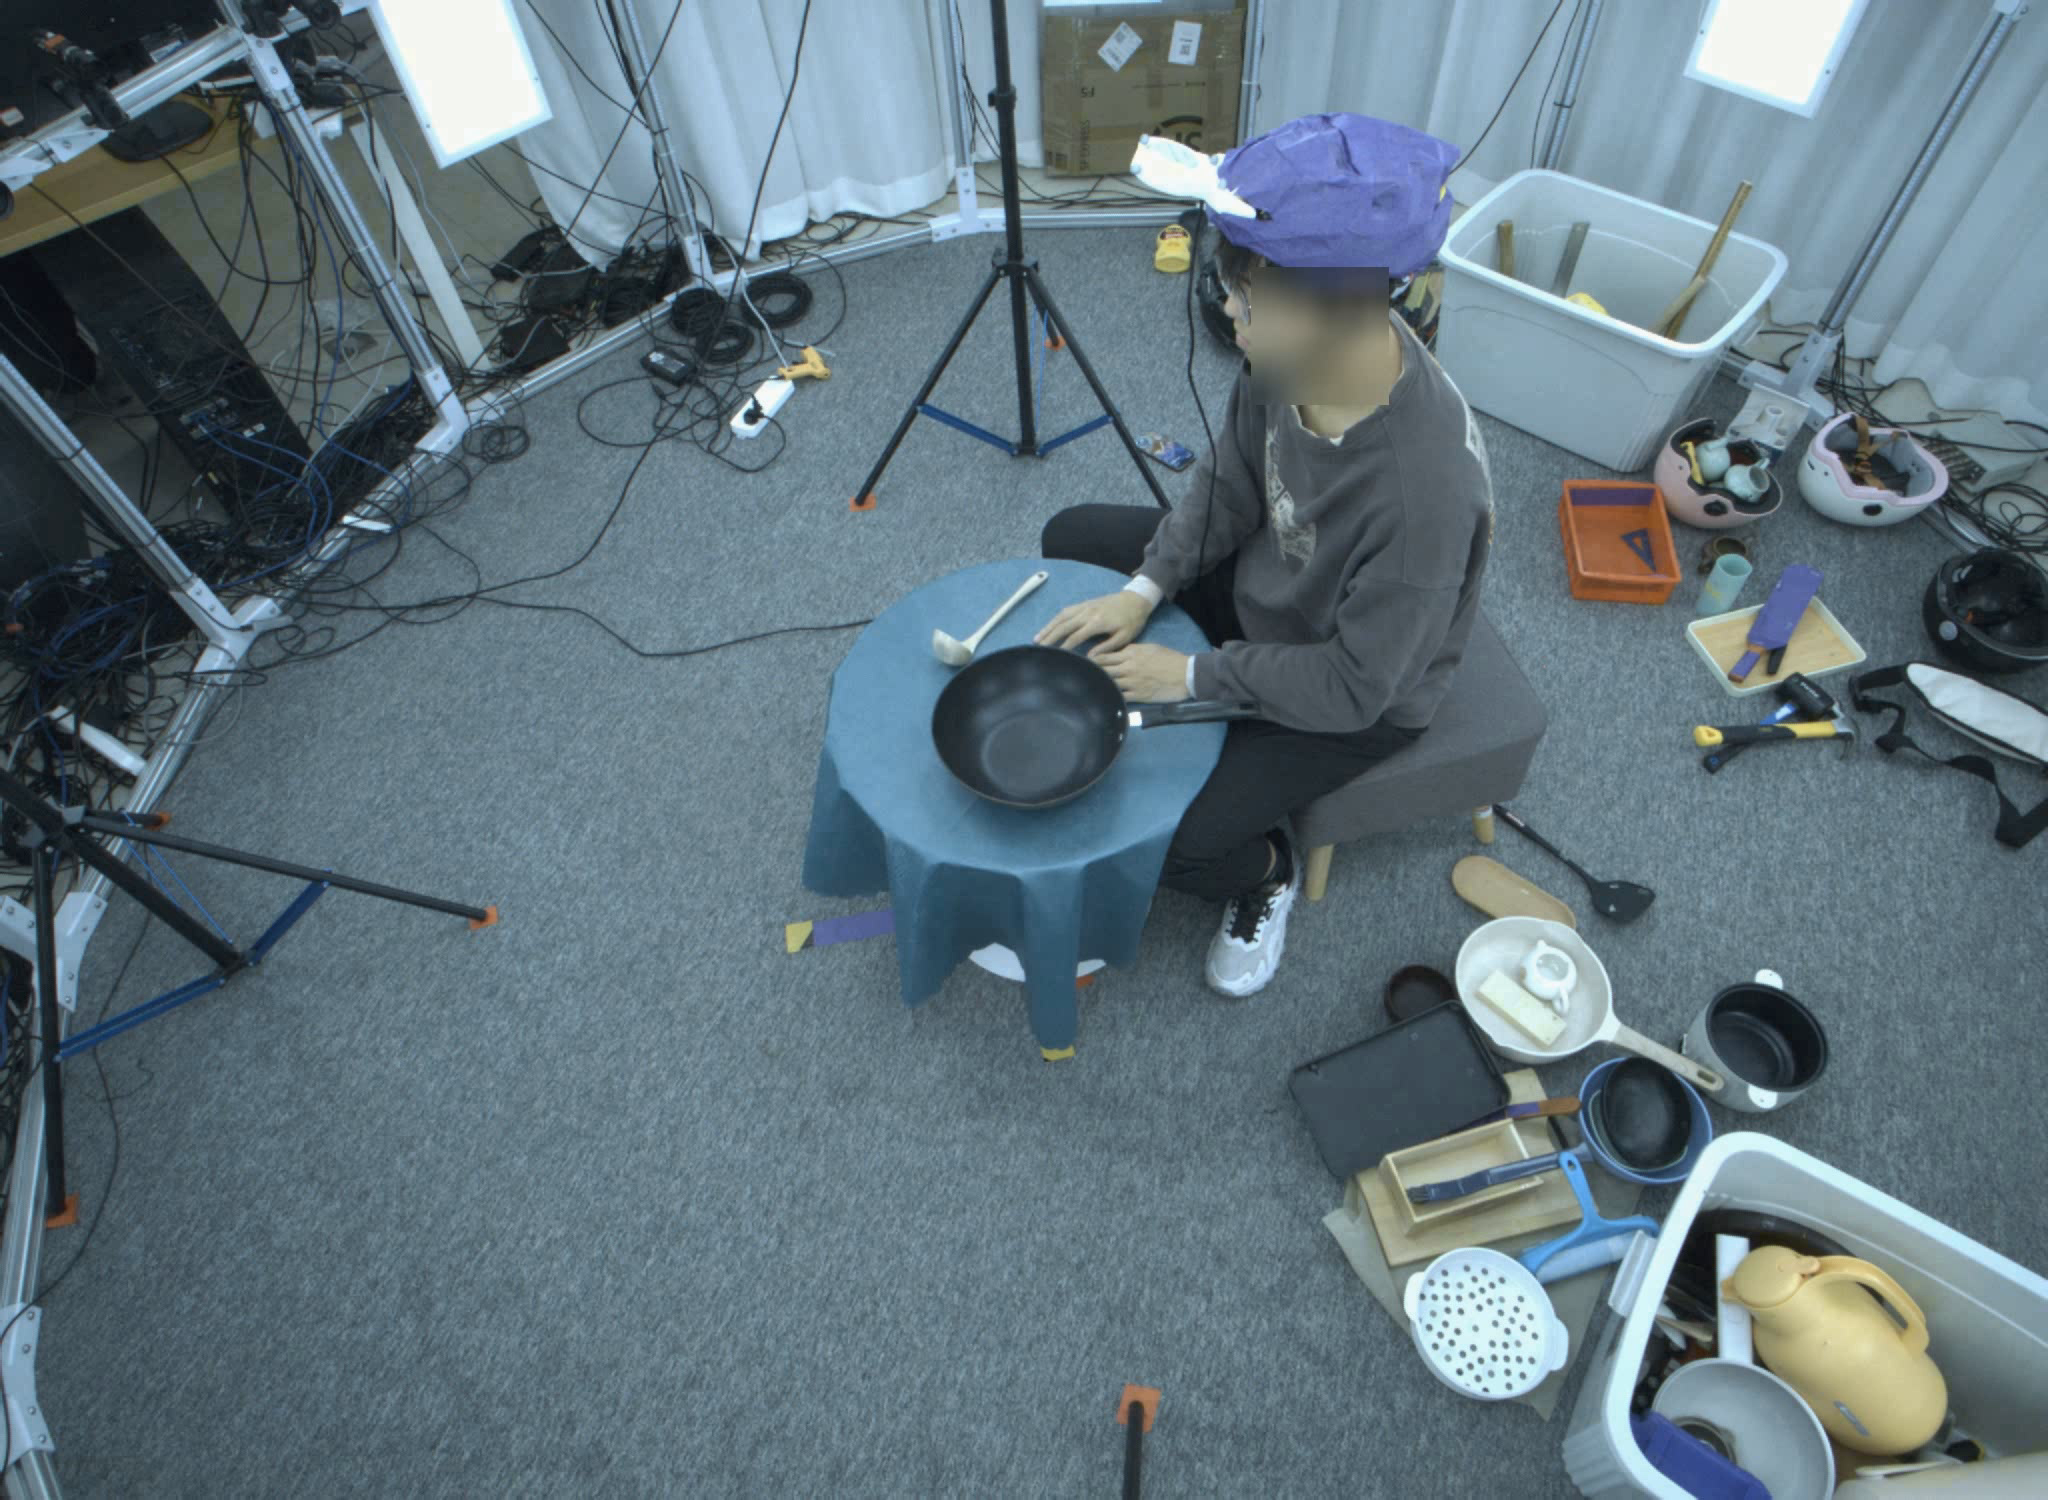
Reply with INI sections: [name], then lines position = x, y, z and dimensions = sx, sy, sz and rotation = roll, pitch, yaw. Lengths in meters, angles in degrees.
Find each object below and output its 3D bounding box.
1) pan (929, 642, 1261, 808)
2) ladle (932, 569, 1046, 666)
[pan]
position = 0.100, -0.026, 1.749
dimensions = 0.464, 0.088, 0.285
rotation = -2, 54, -1
[ladle]
position = -0.047, -0.228, 1.905
dimensions = 0.071, 0.074, 0.255
rotation = 28, 61, 24
